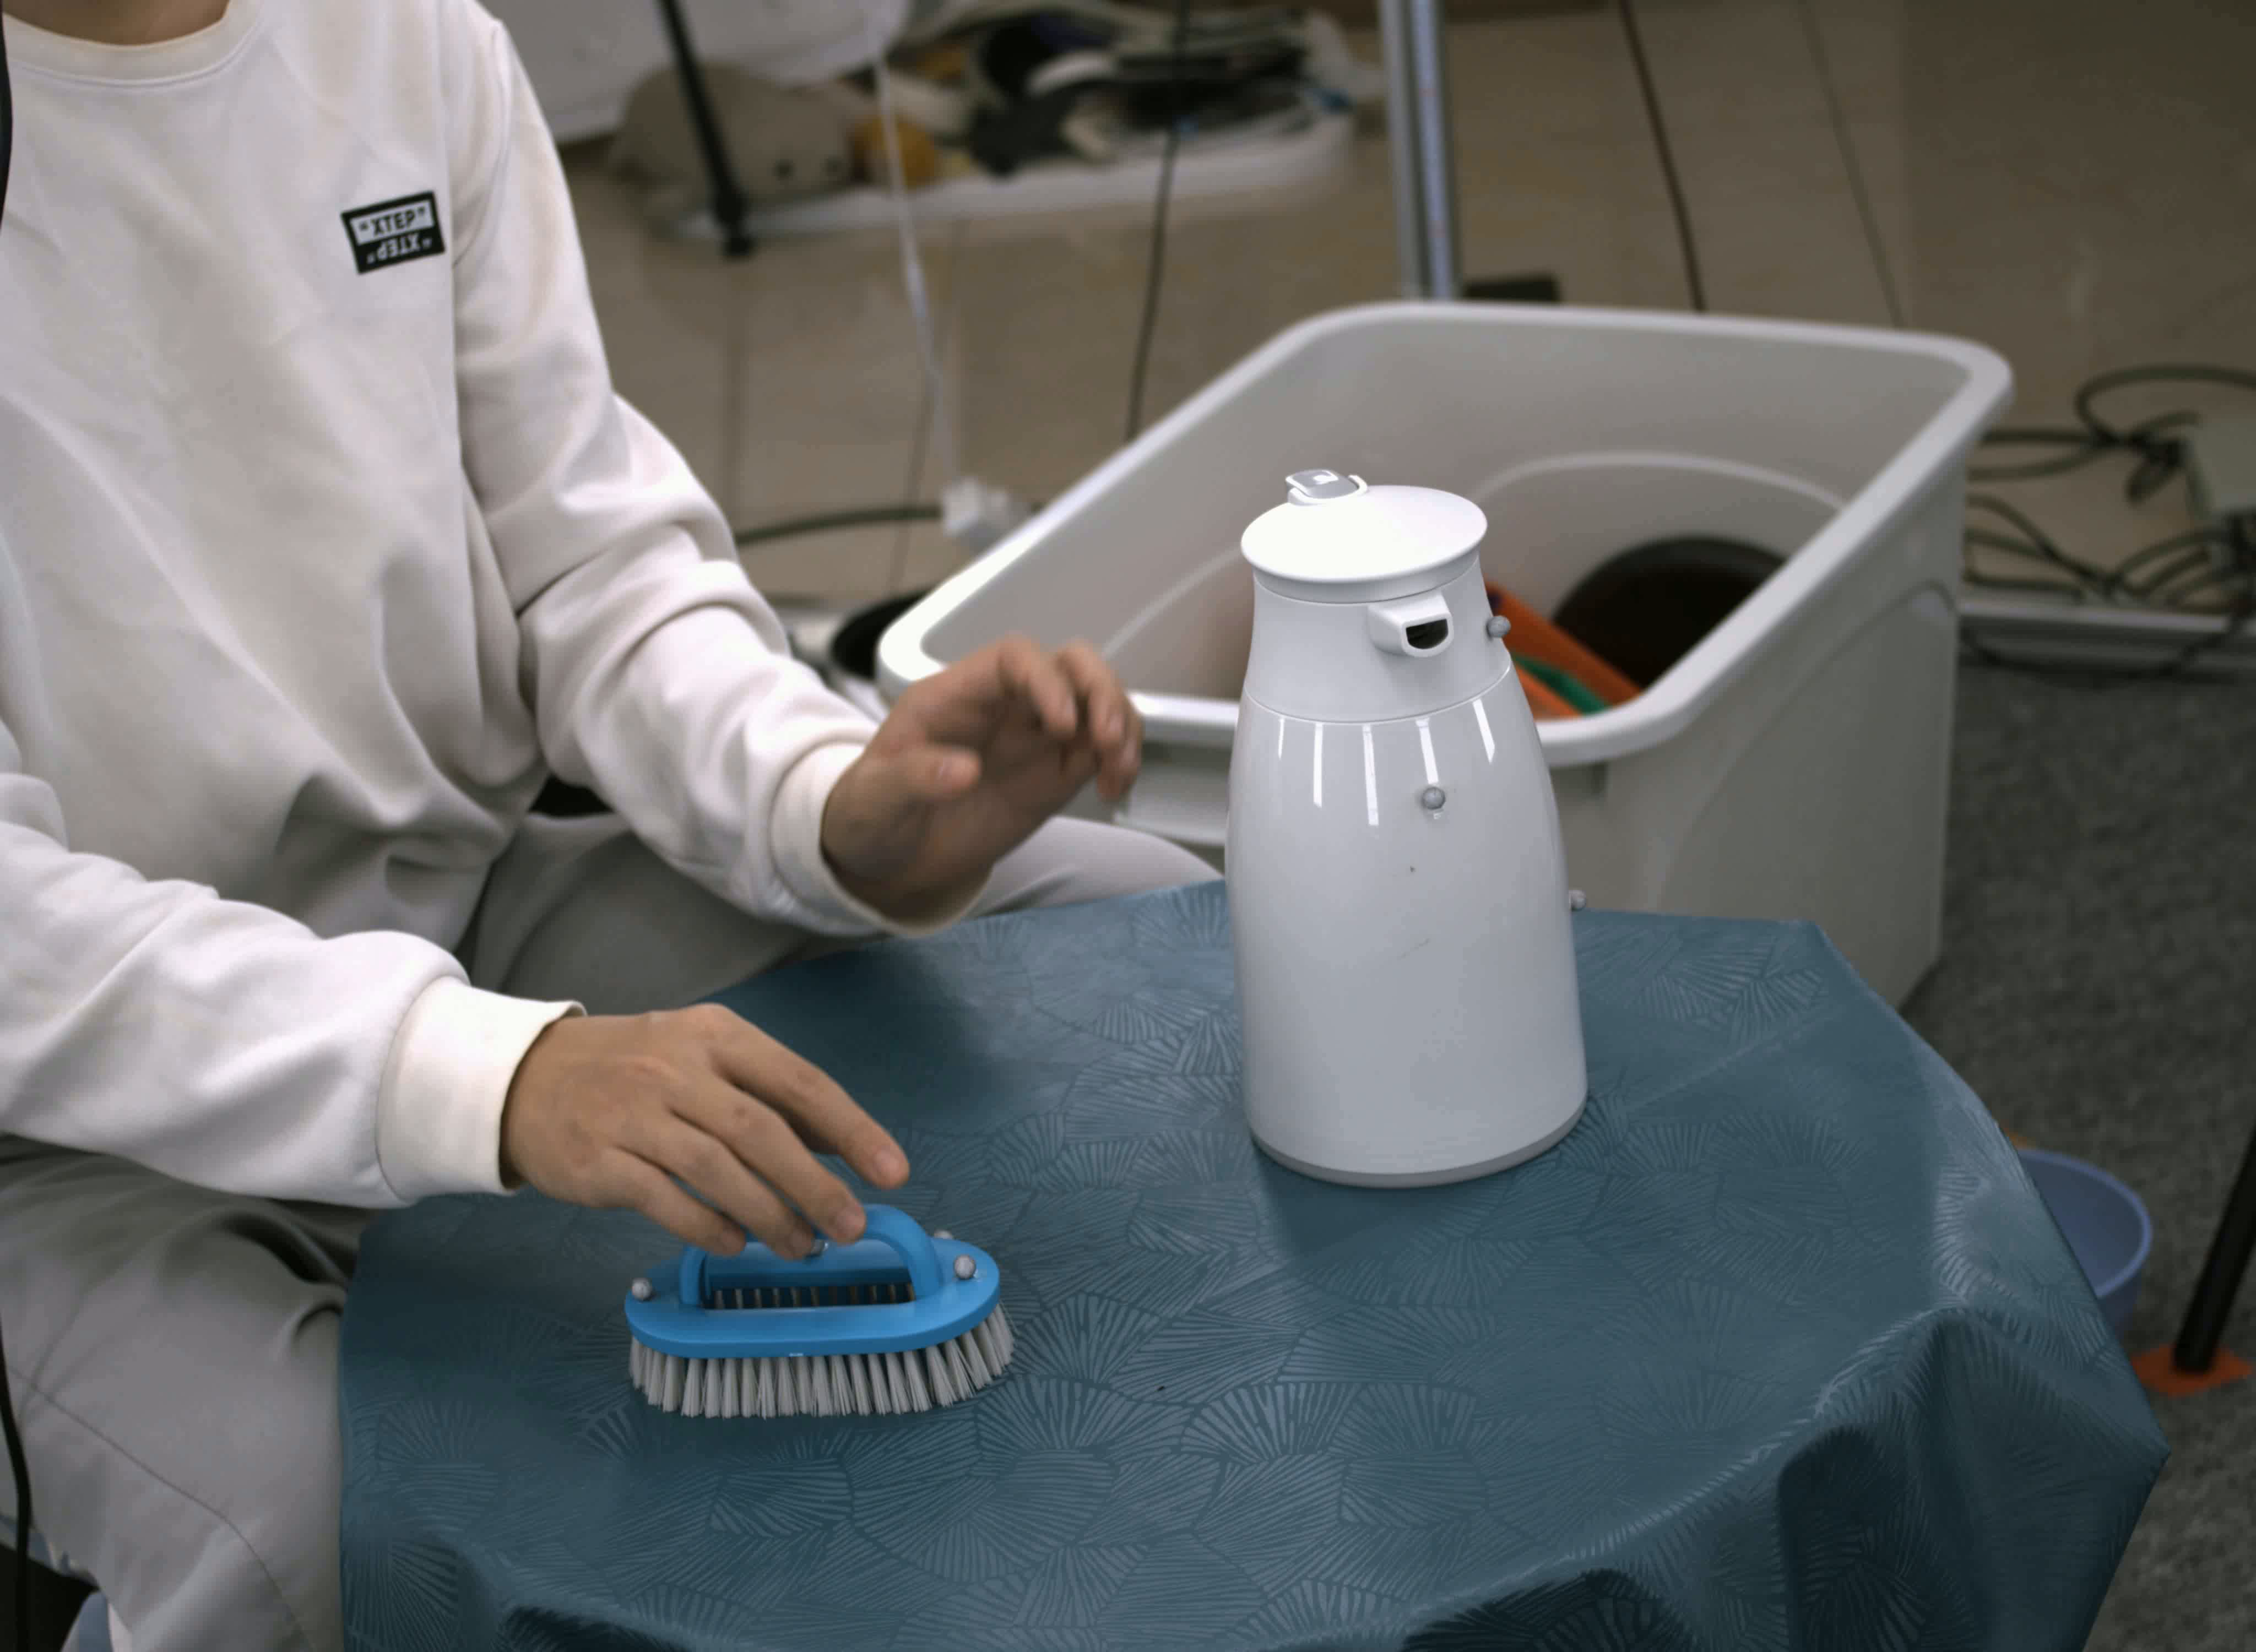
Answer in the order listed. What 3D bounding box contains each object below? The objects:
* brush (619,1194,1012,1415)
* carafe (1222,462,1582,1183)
[{"bbox_3d":[-0.115,0.163,2.040,0.141,0.065,0.083,-1,31,11],"label":"brush"},{"bbox_3d":[0.090,-0.011,2.146,0.132,0.252,0.165,-14,26,-15],"label":"carafe"}]
